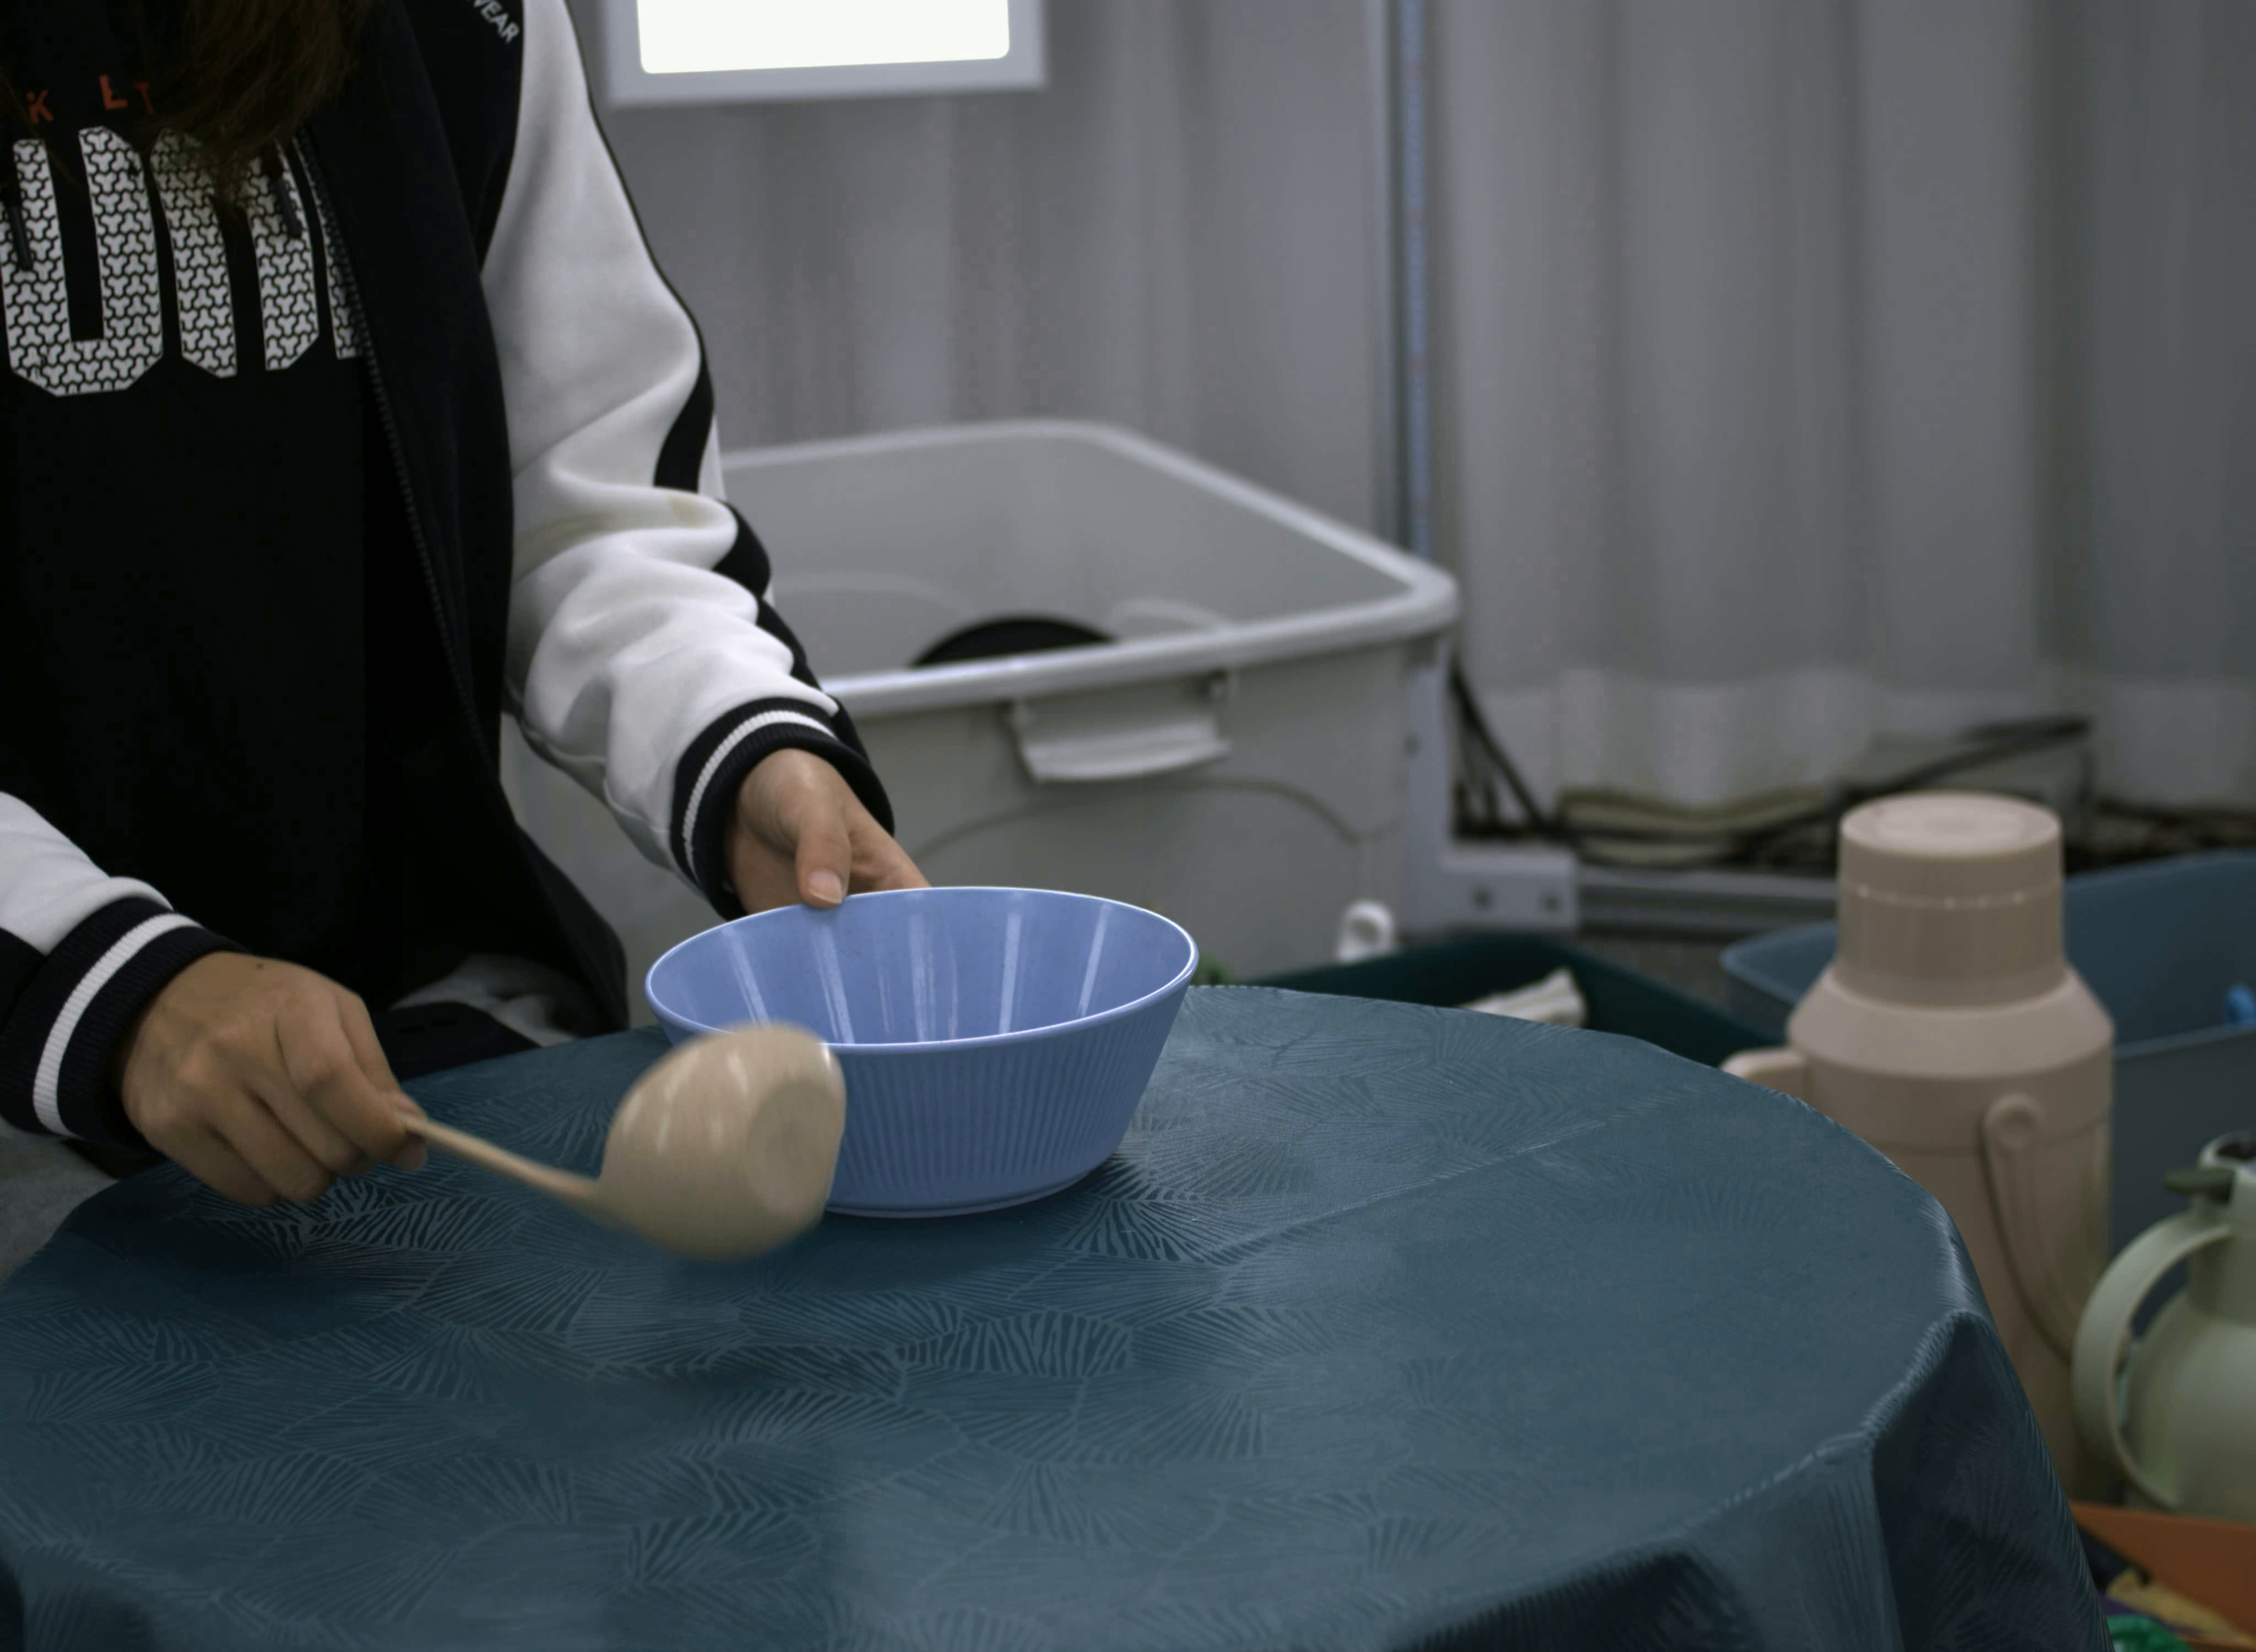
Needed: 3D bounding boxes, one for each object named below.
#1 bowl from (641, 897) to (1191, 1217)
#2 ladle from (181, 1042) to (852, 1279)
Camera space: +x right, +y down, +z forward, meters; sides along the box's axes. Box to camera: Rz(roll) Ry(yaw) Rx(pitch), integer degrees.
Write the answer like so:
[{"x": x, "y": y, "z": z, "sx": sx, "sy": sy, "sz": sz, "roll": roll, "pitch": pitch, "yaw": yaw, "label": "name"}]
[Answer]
[{"x": -0.066, "y": 0.075, "z": 1.740, "sx": 0.175, "sy": 0.070, "sz": 0.177, "roll": -2, "pitch": 14, "yaw": 0, "label": "bowl"}, {"x": -0.184, "y": 0.076, "z": 1.630, "sx": 0.256, "sy": 0.073, "sz": 0.071, "roll": 14, "pitch": -23, "yaw": 42, "label": "ladle"}]
